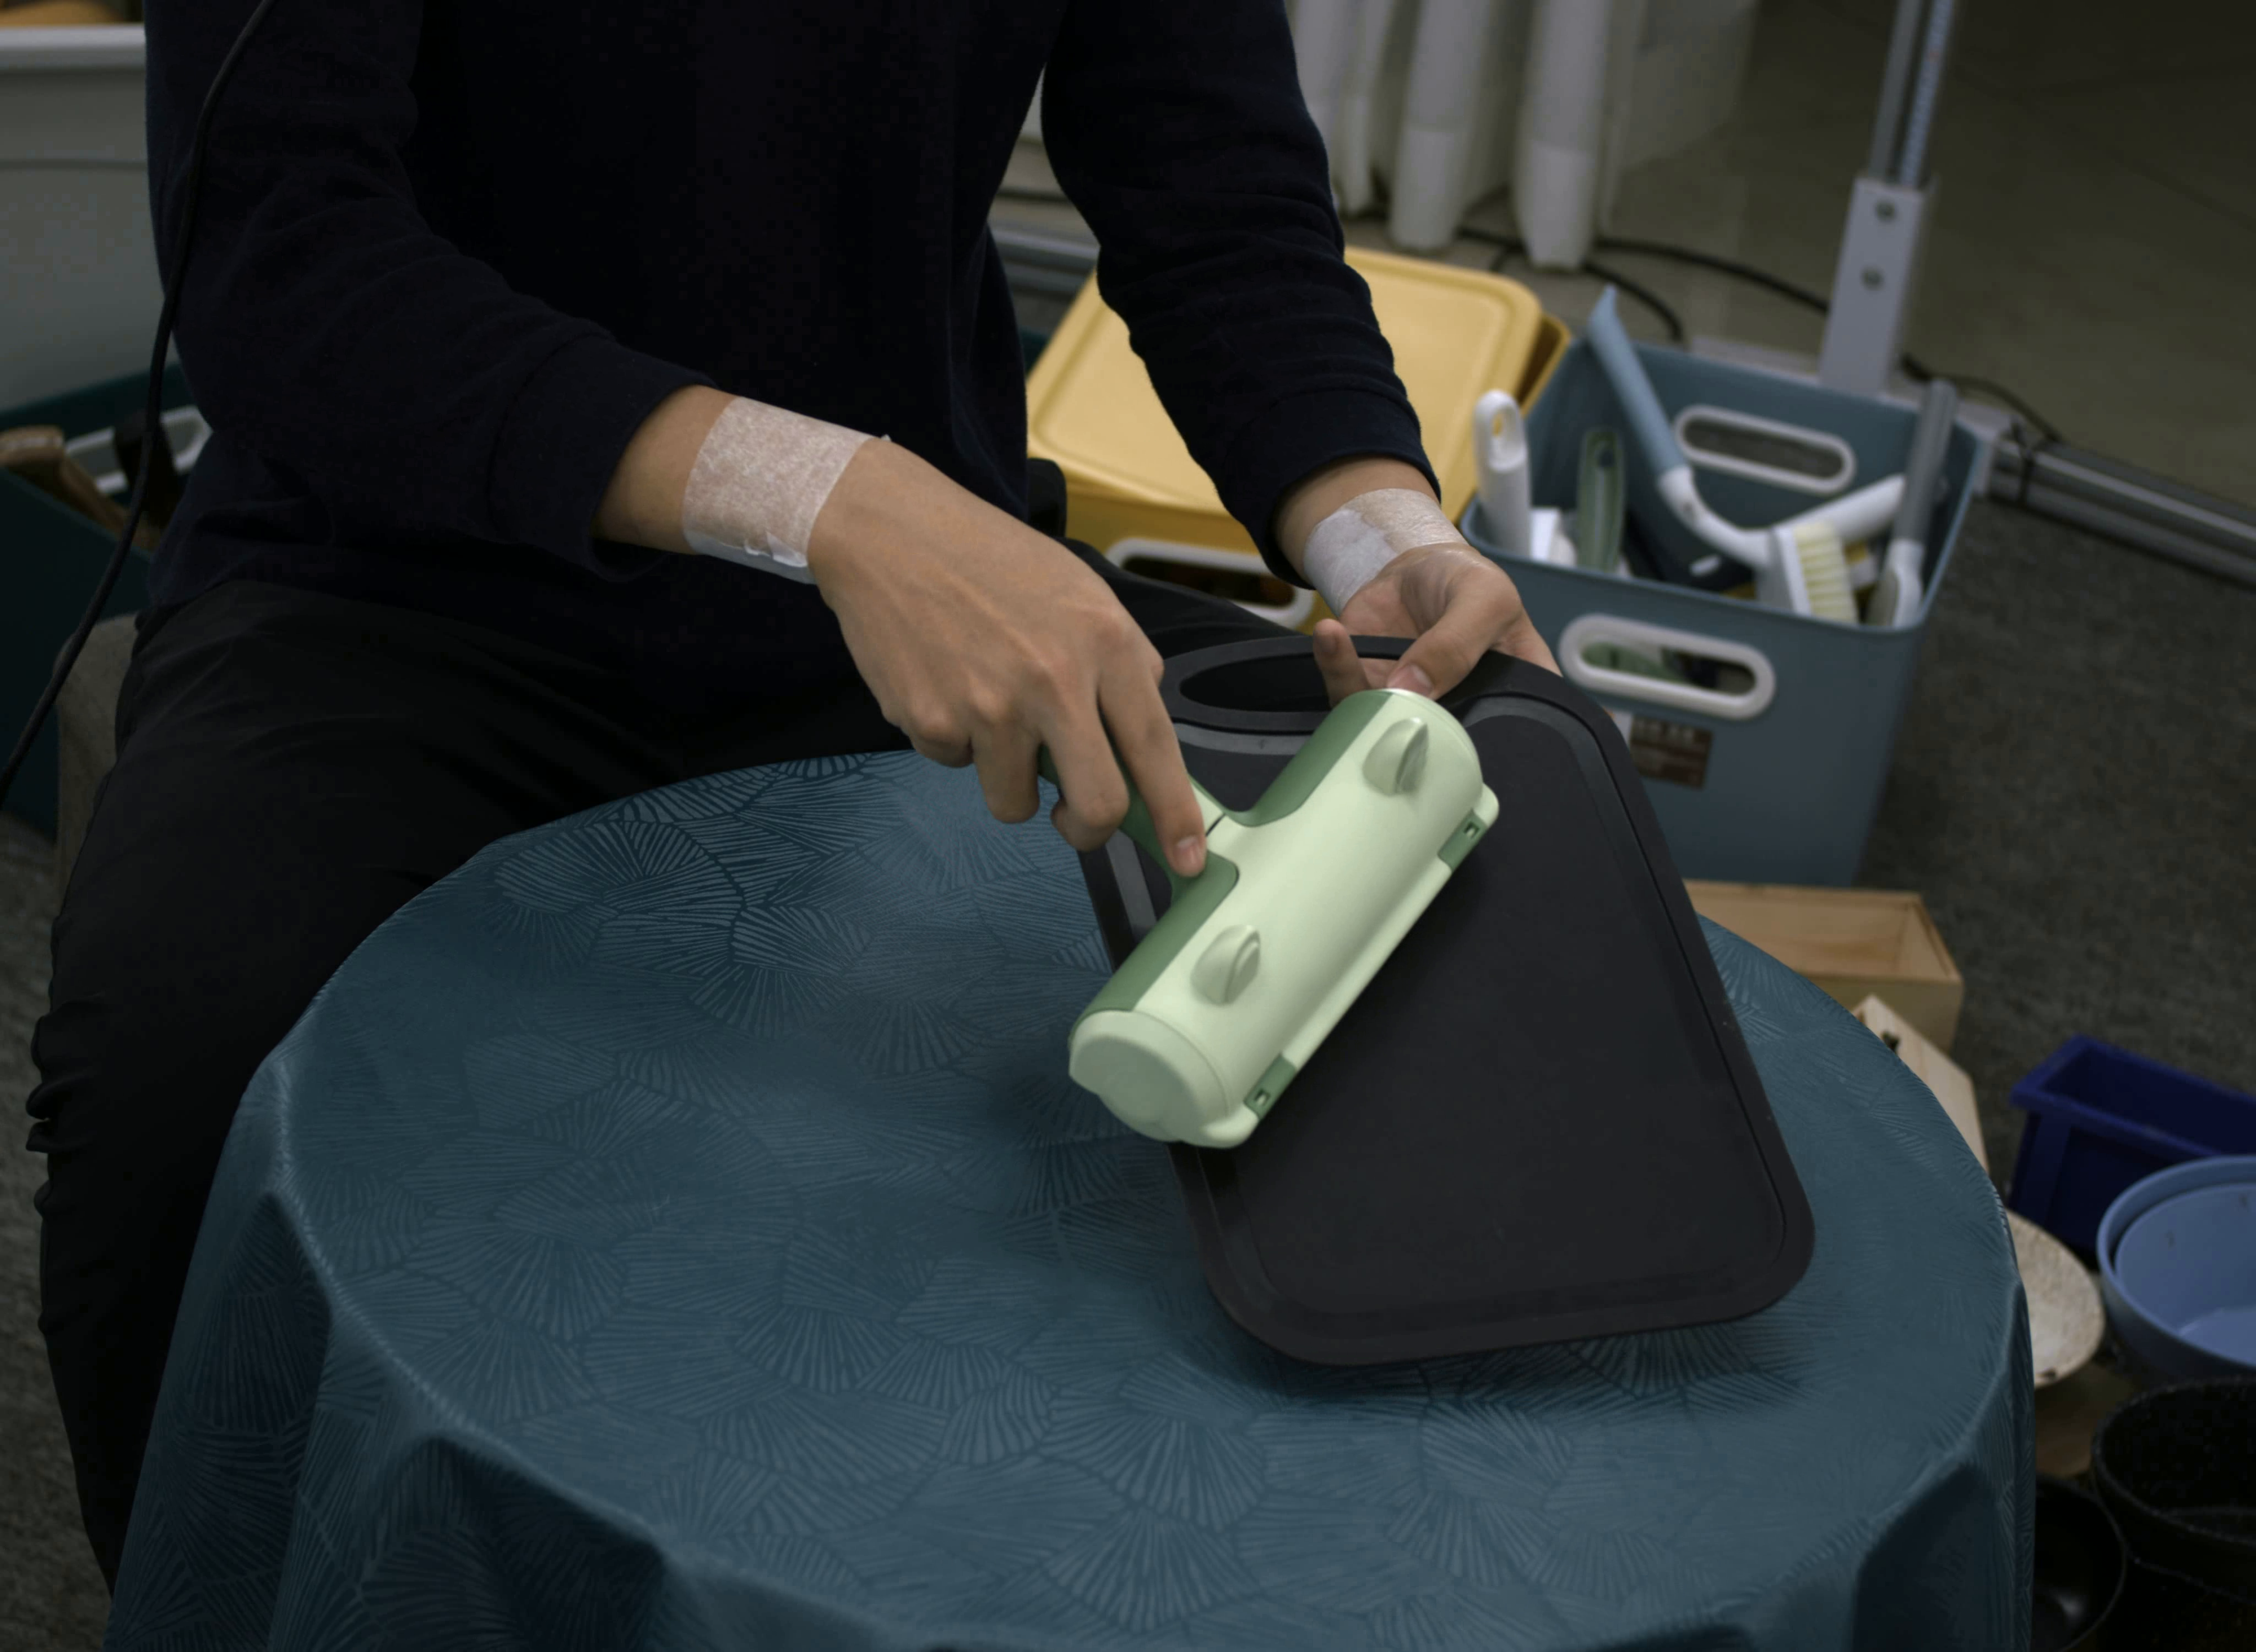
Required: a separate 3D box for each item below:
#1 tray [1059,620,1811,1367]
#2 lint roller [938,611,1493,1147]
[{"bbox_3d":[0.098,0.047,1.812,0.210,0.010,0.328,-5,49,-13],"label":"tray"},{"bbox_3d":[0.018,-0.015,1.778,0.183,0.082,0.199,46,51,-7],"label":"lint roller"}]
